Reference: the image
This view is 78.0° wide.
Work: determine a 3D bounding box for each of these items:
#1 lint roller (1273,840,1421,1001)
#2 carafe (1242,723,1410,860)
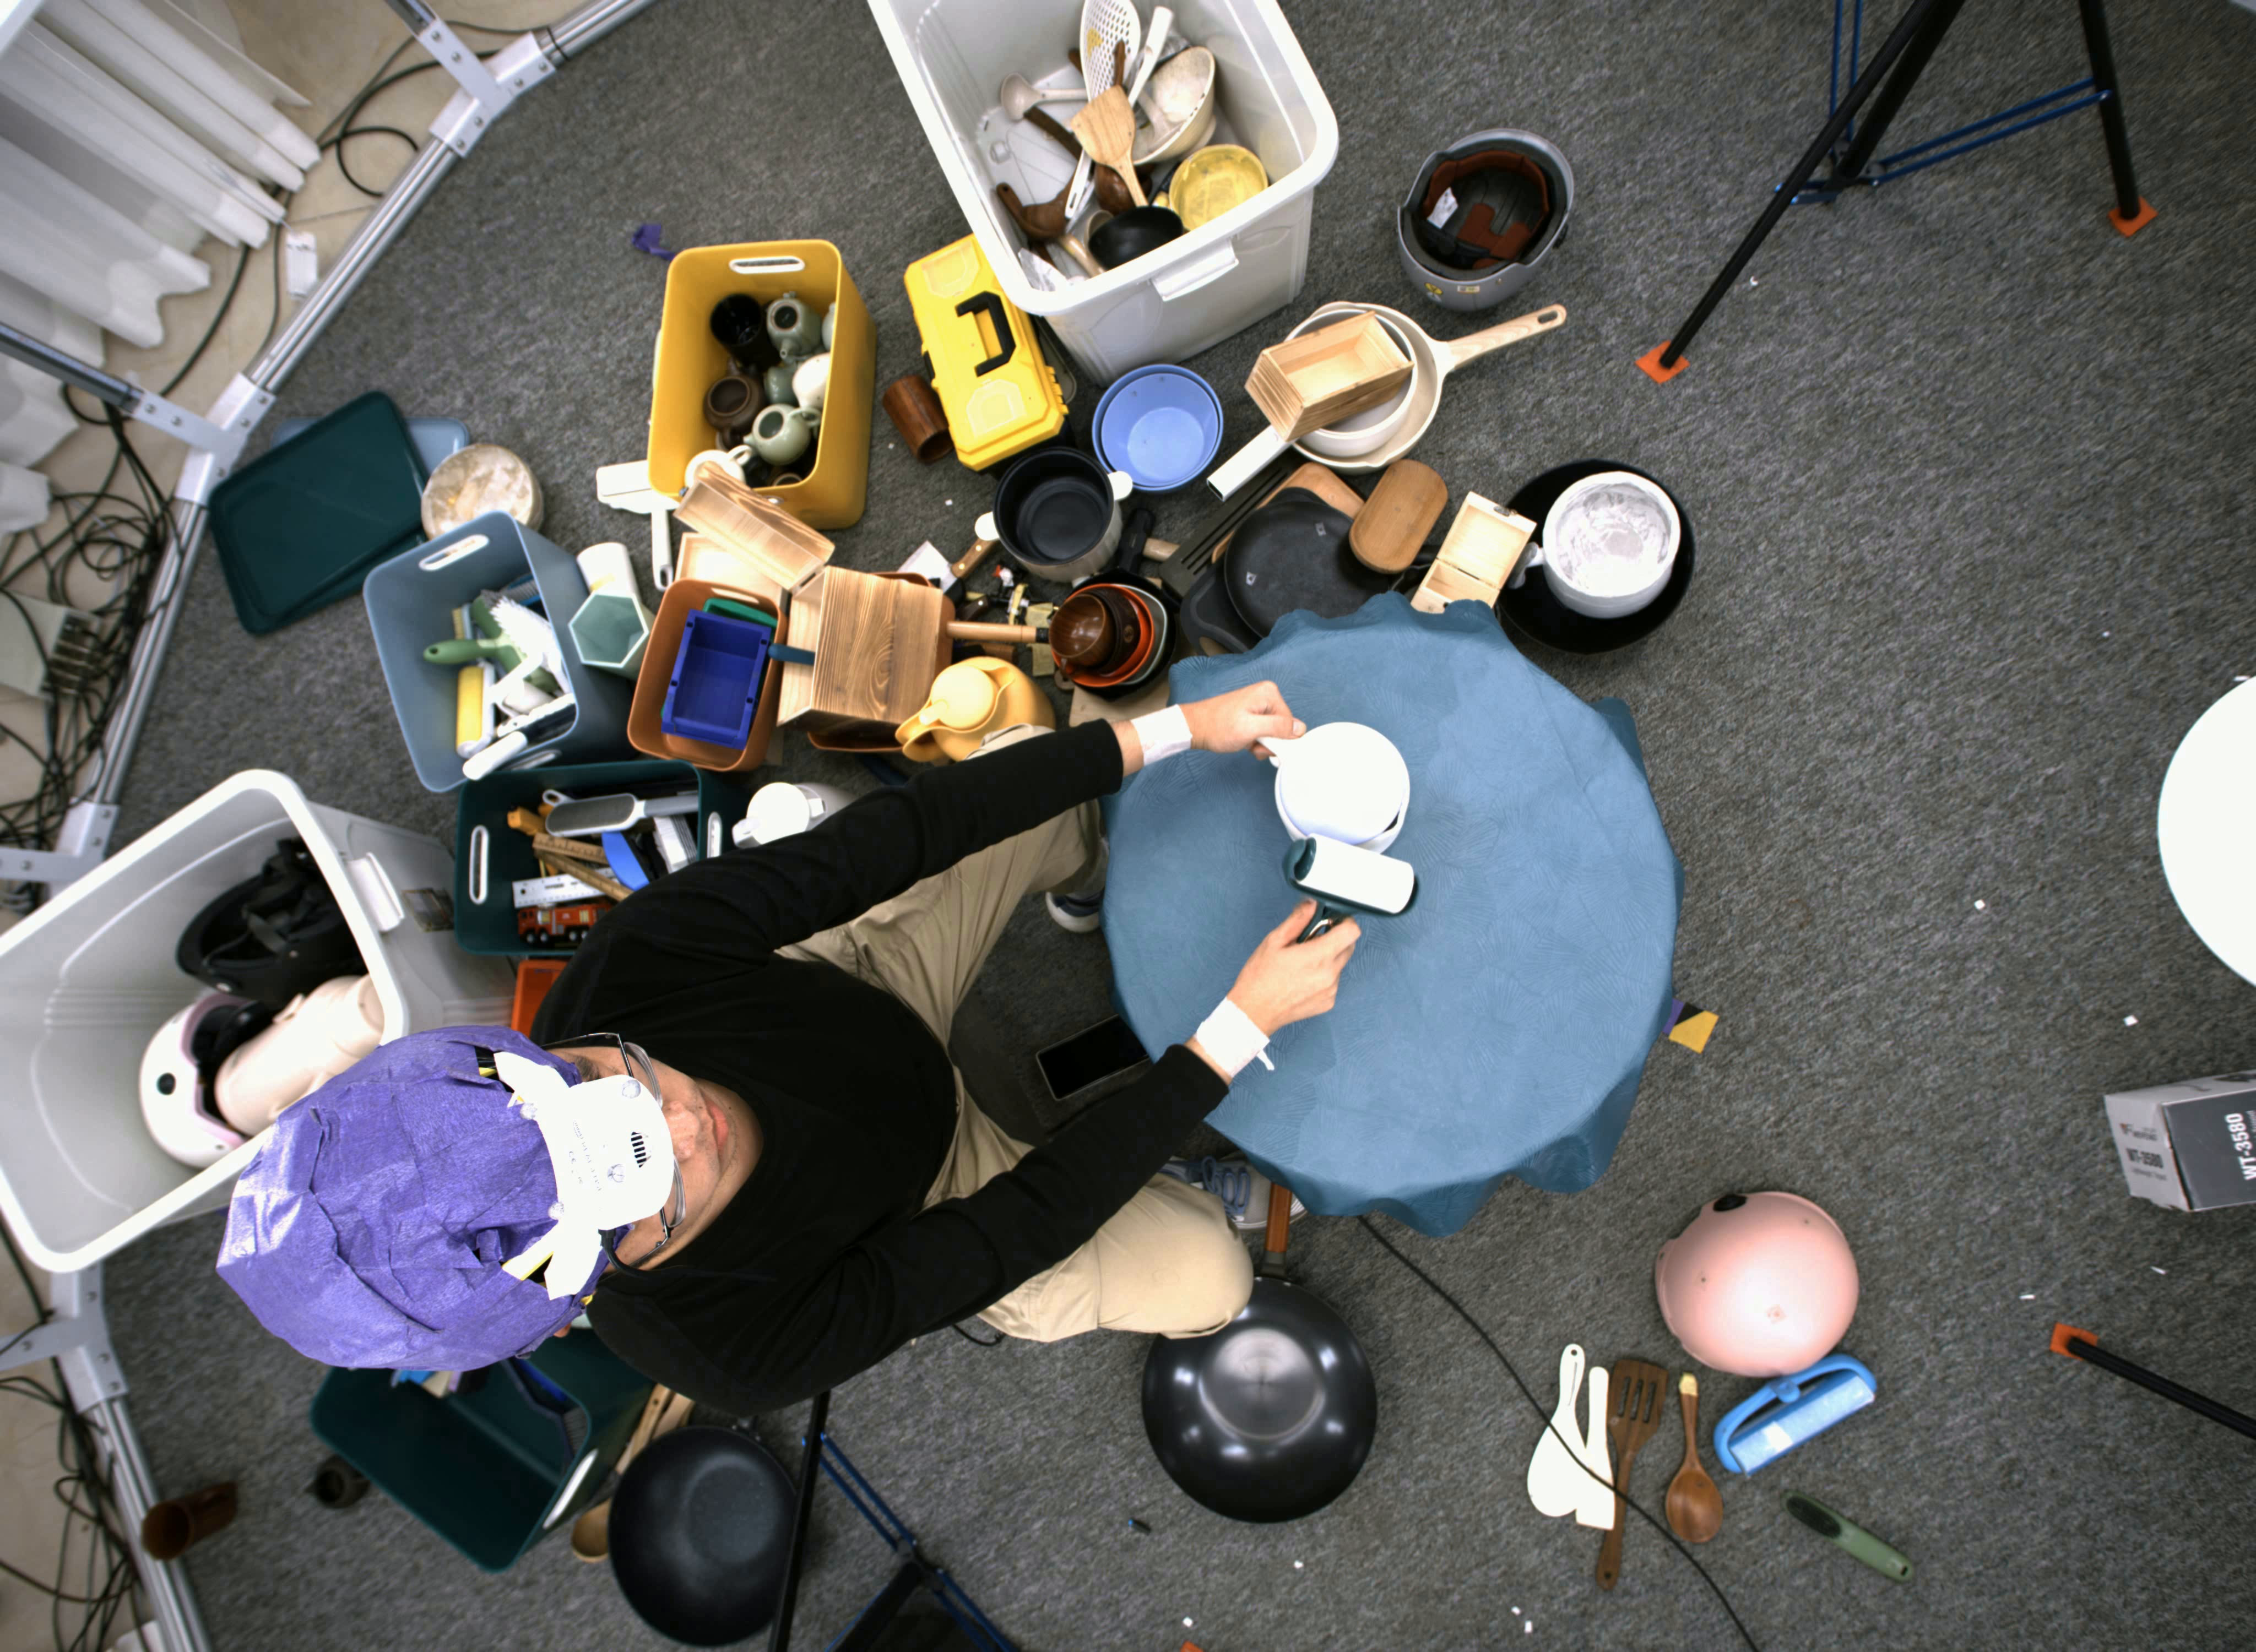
[{"bbox_3d":[0.184,0.104,1.304,0.134,0.047,0.184,17,116,-14],"label":"lint roller"},{"bbox_3d":[0.196,-0.045,1.393,0.190,0.183,0.132,35,91,13],"label":"carafe"}]
